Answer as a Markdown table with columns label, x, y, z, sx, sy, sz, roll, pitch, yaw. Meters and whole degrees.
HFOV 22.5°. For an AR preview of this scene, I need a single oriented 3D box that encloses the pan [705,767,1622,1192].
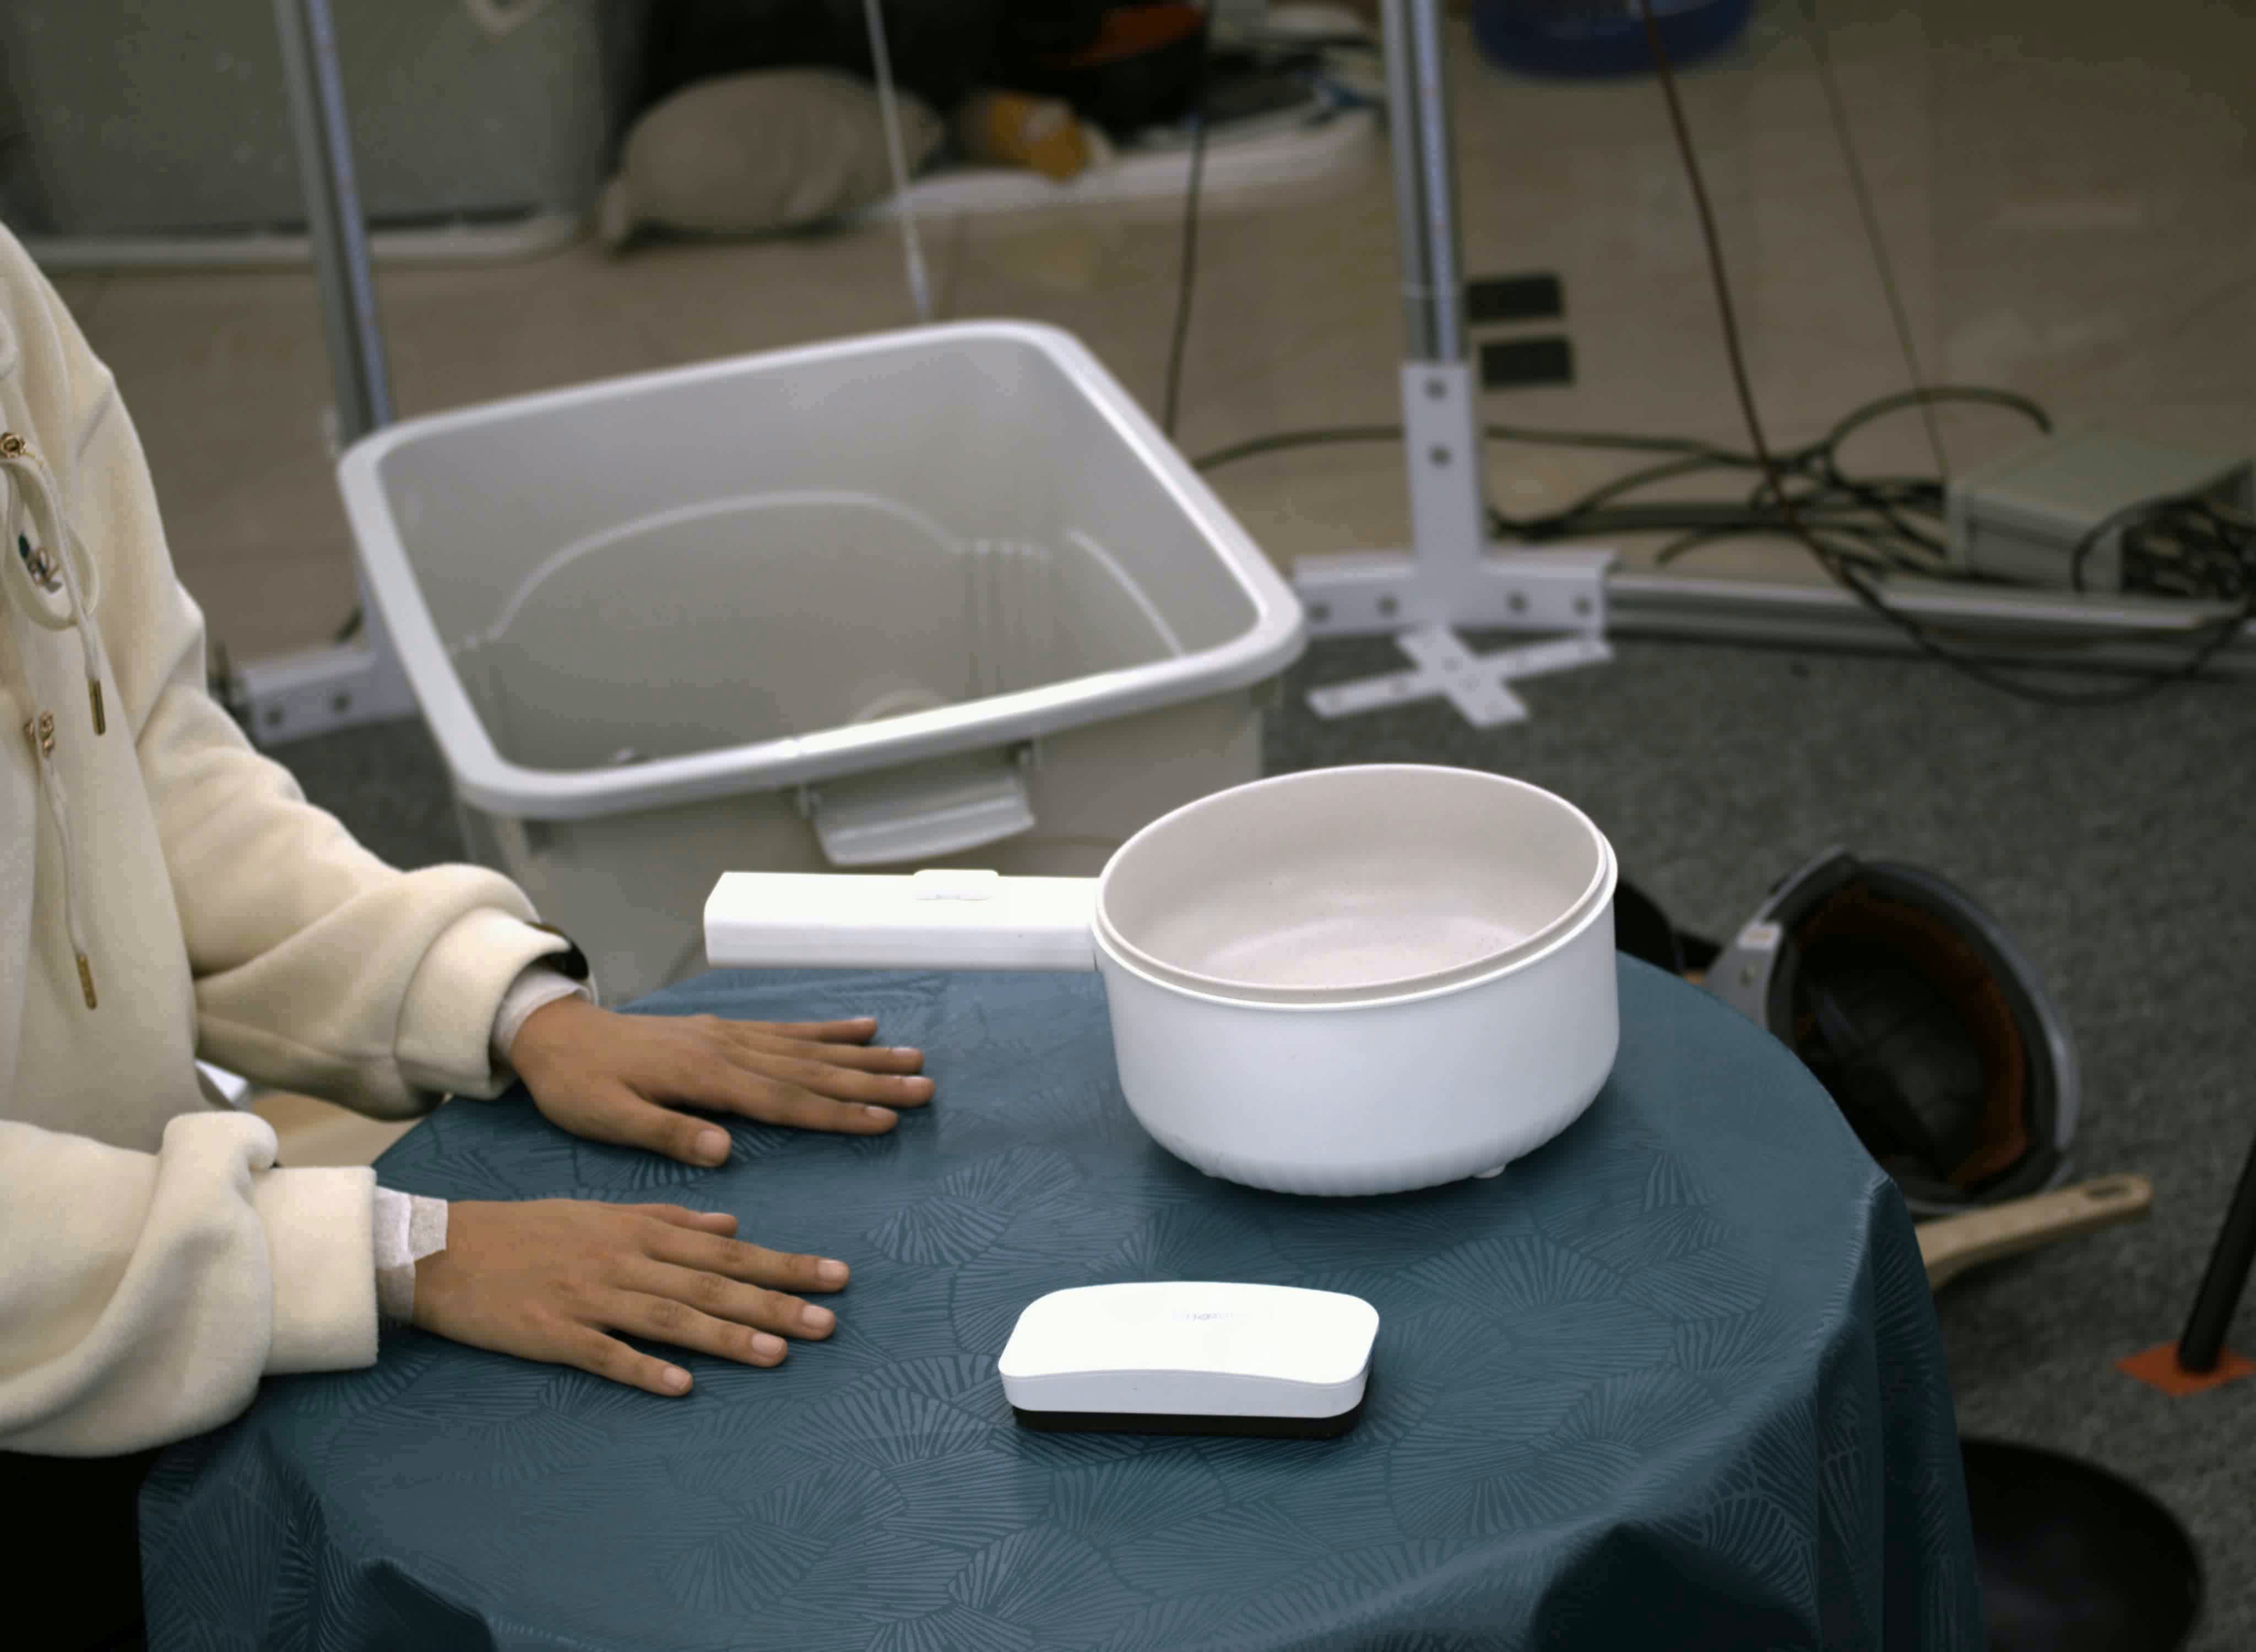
| label | x | y | z | sx | sy | sz | roll | pitch | yaw |
| --- | --- | --- | --- | --- | --- | --- | --- | --- | --- |
| pan | 0.015 | 0.065 | 2.184 | 0.354 | 0.103 | 0.198 | -3 | 24 | 14 |

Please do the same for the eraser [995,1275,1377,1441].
| label | x | y | z | sx | sy | sz | roll | pitch | yaw |
| --- | --- | --- | --- | --- | --- | --- | --- | --- | --- |
| eraser | 0.021 | 0.188 | 2.001 | 0.131 | 0.035 | 0.062 | 1 | 24 | 14 |
